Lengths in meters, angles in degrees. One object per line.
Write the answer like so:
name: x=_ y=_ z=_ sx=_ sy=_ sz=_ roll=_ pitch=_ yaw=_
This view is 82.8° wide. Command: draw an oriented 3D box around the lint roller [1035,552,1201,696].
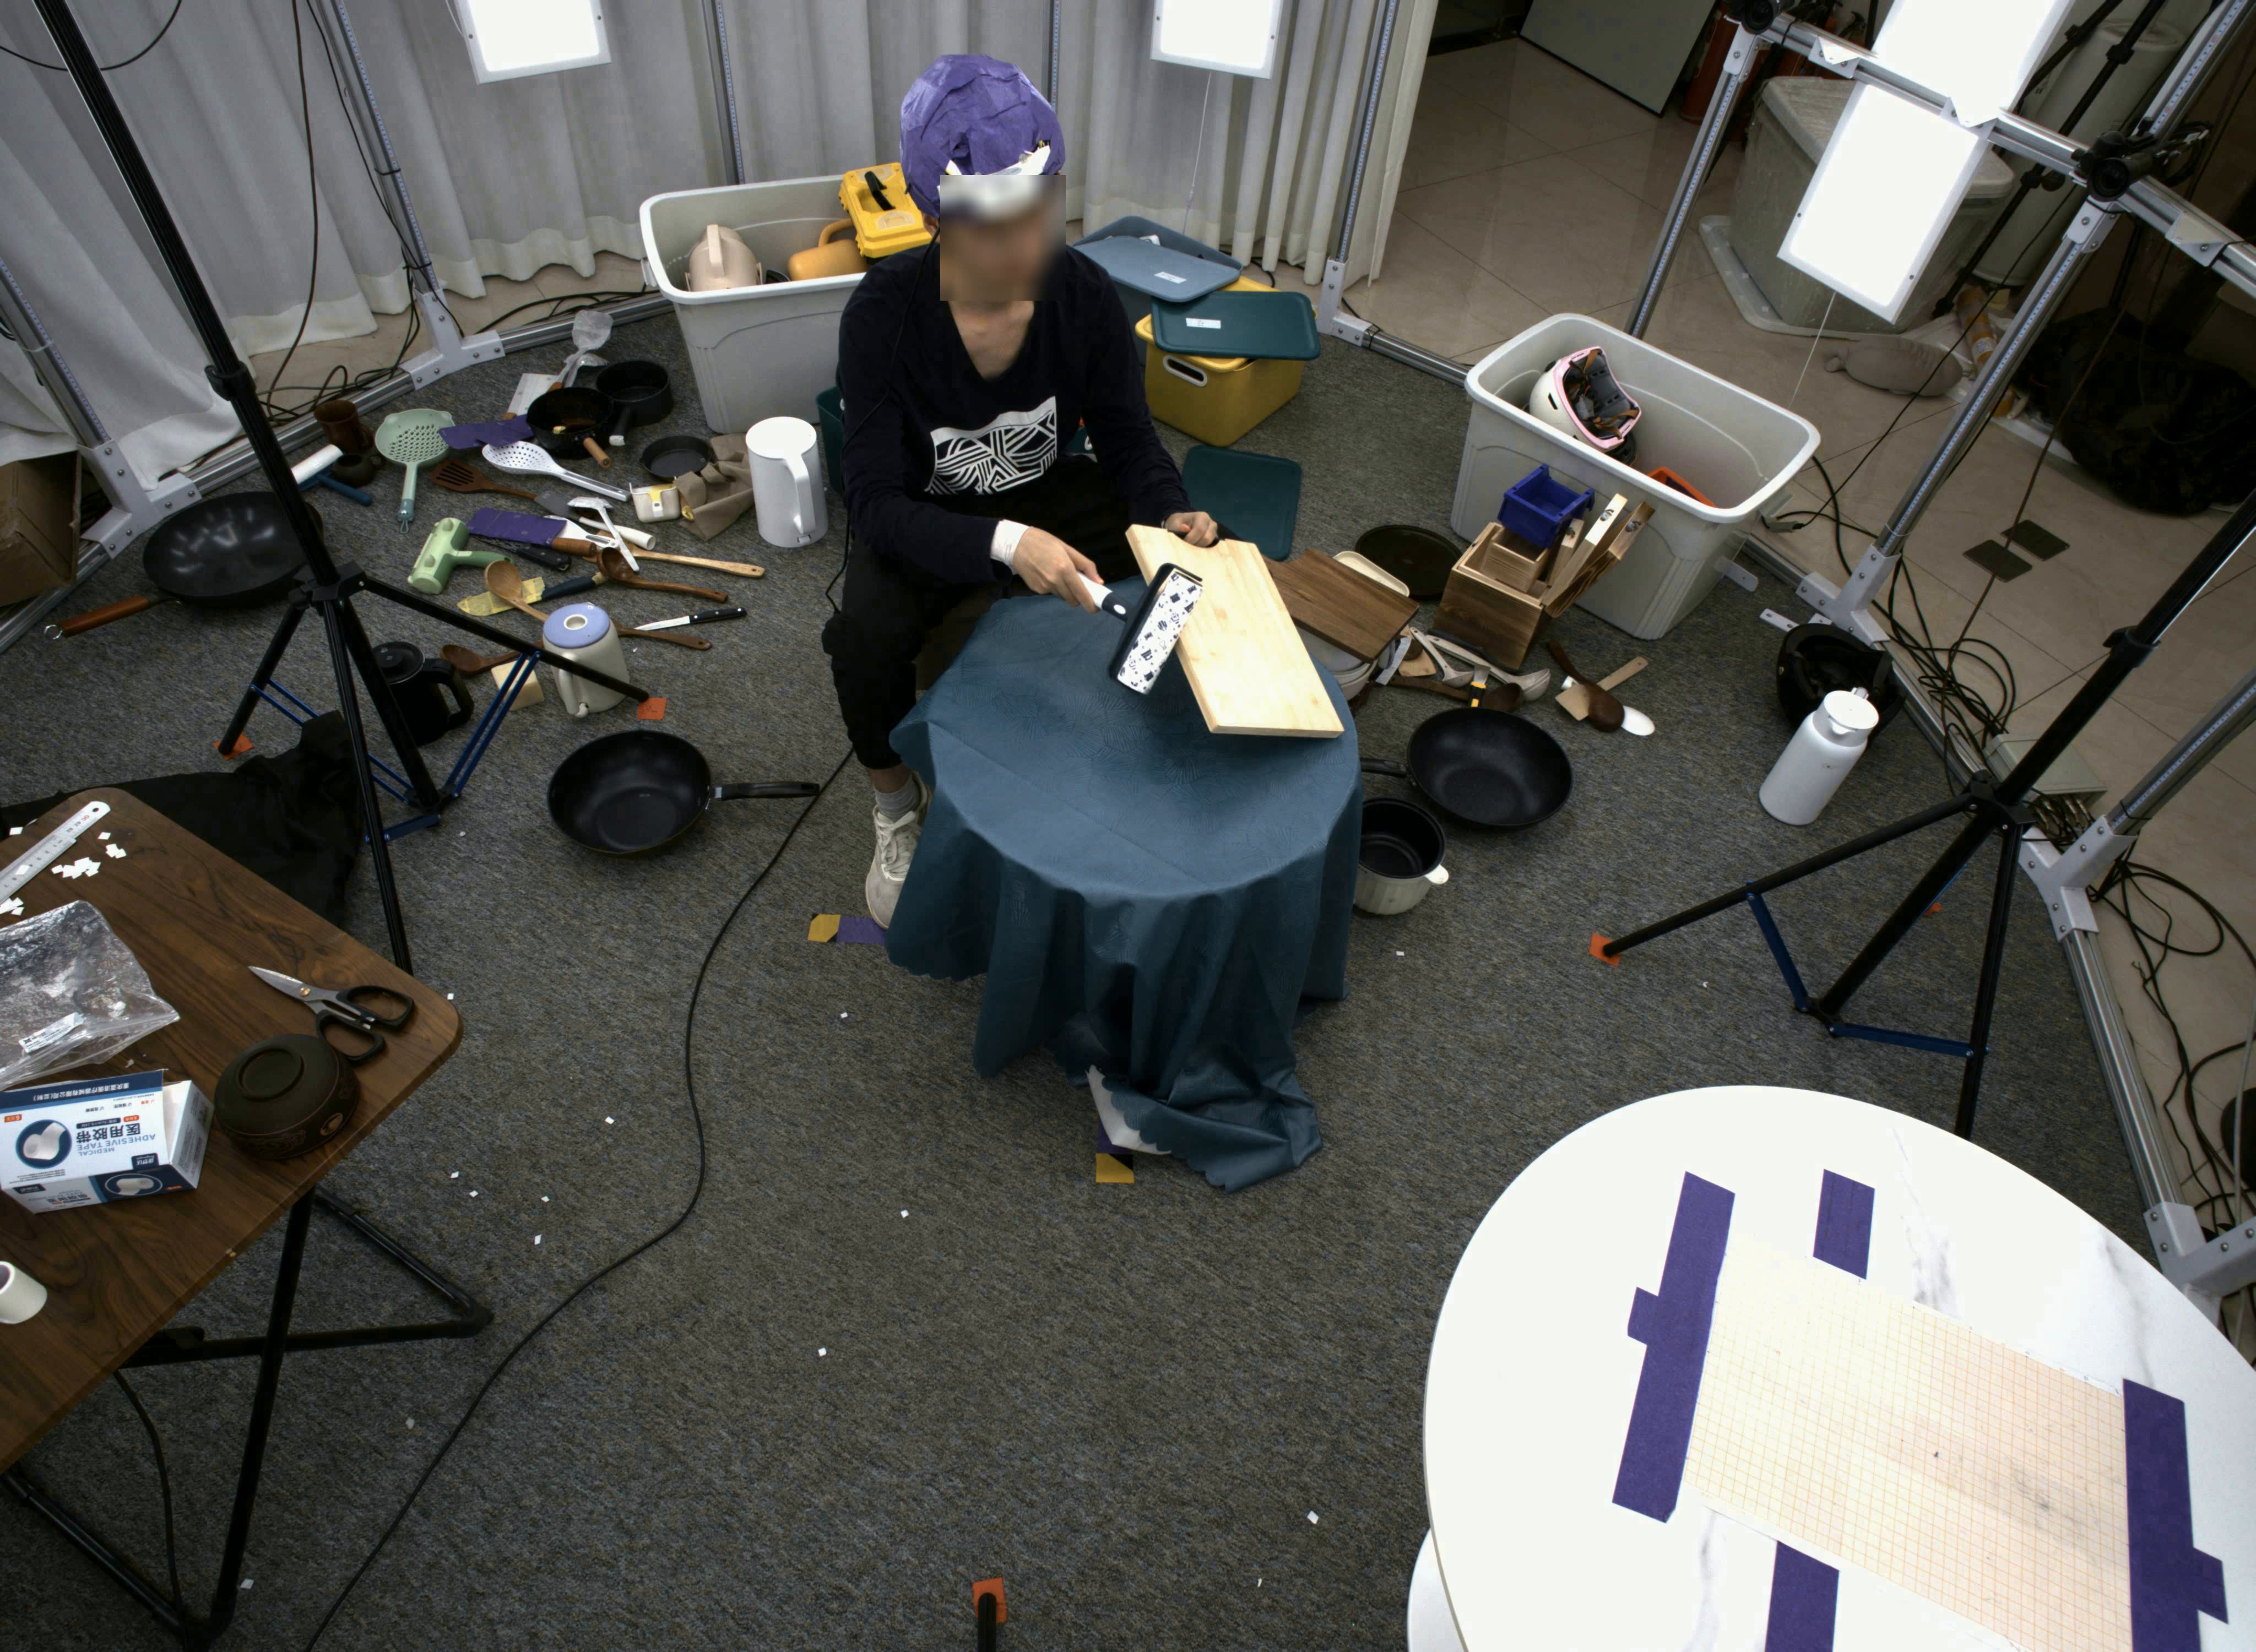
lint roller: x=-0.036 y=-0.307 z=1.735 sx=0.250 sy=0.175 sz=0.050 roll=34 pitch=15 yaw=24

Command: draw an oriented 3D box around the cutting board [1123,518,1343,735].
cutting board: x=0.146 y=-0.277 z=1.794 sx=0.249 sy=0.023 sz=0.355 roll=-1 pitch=58 yaw=-38
